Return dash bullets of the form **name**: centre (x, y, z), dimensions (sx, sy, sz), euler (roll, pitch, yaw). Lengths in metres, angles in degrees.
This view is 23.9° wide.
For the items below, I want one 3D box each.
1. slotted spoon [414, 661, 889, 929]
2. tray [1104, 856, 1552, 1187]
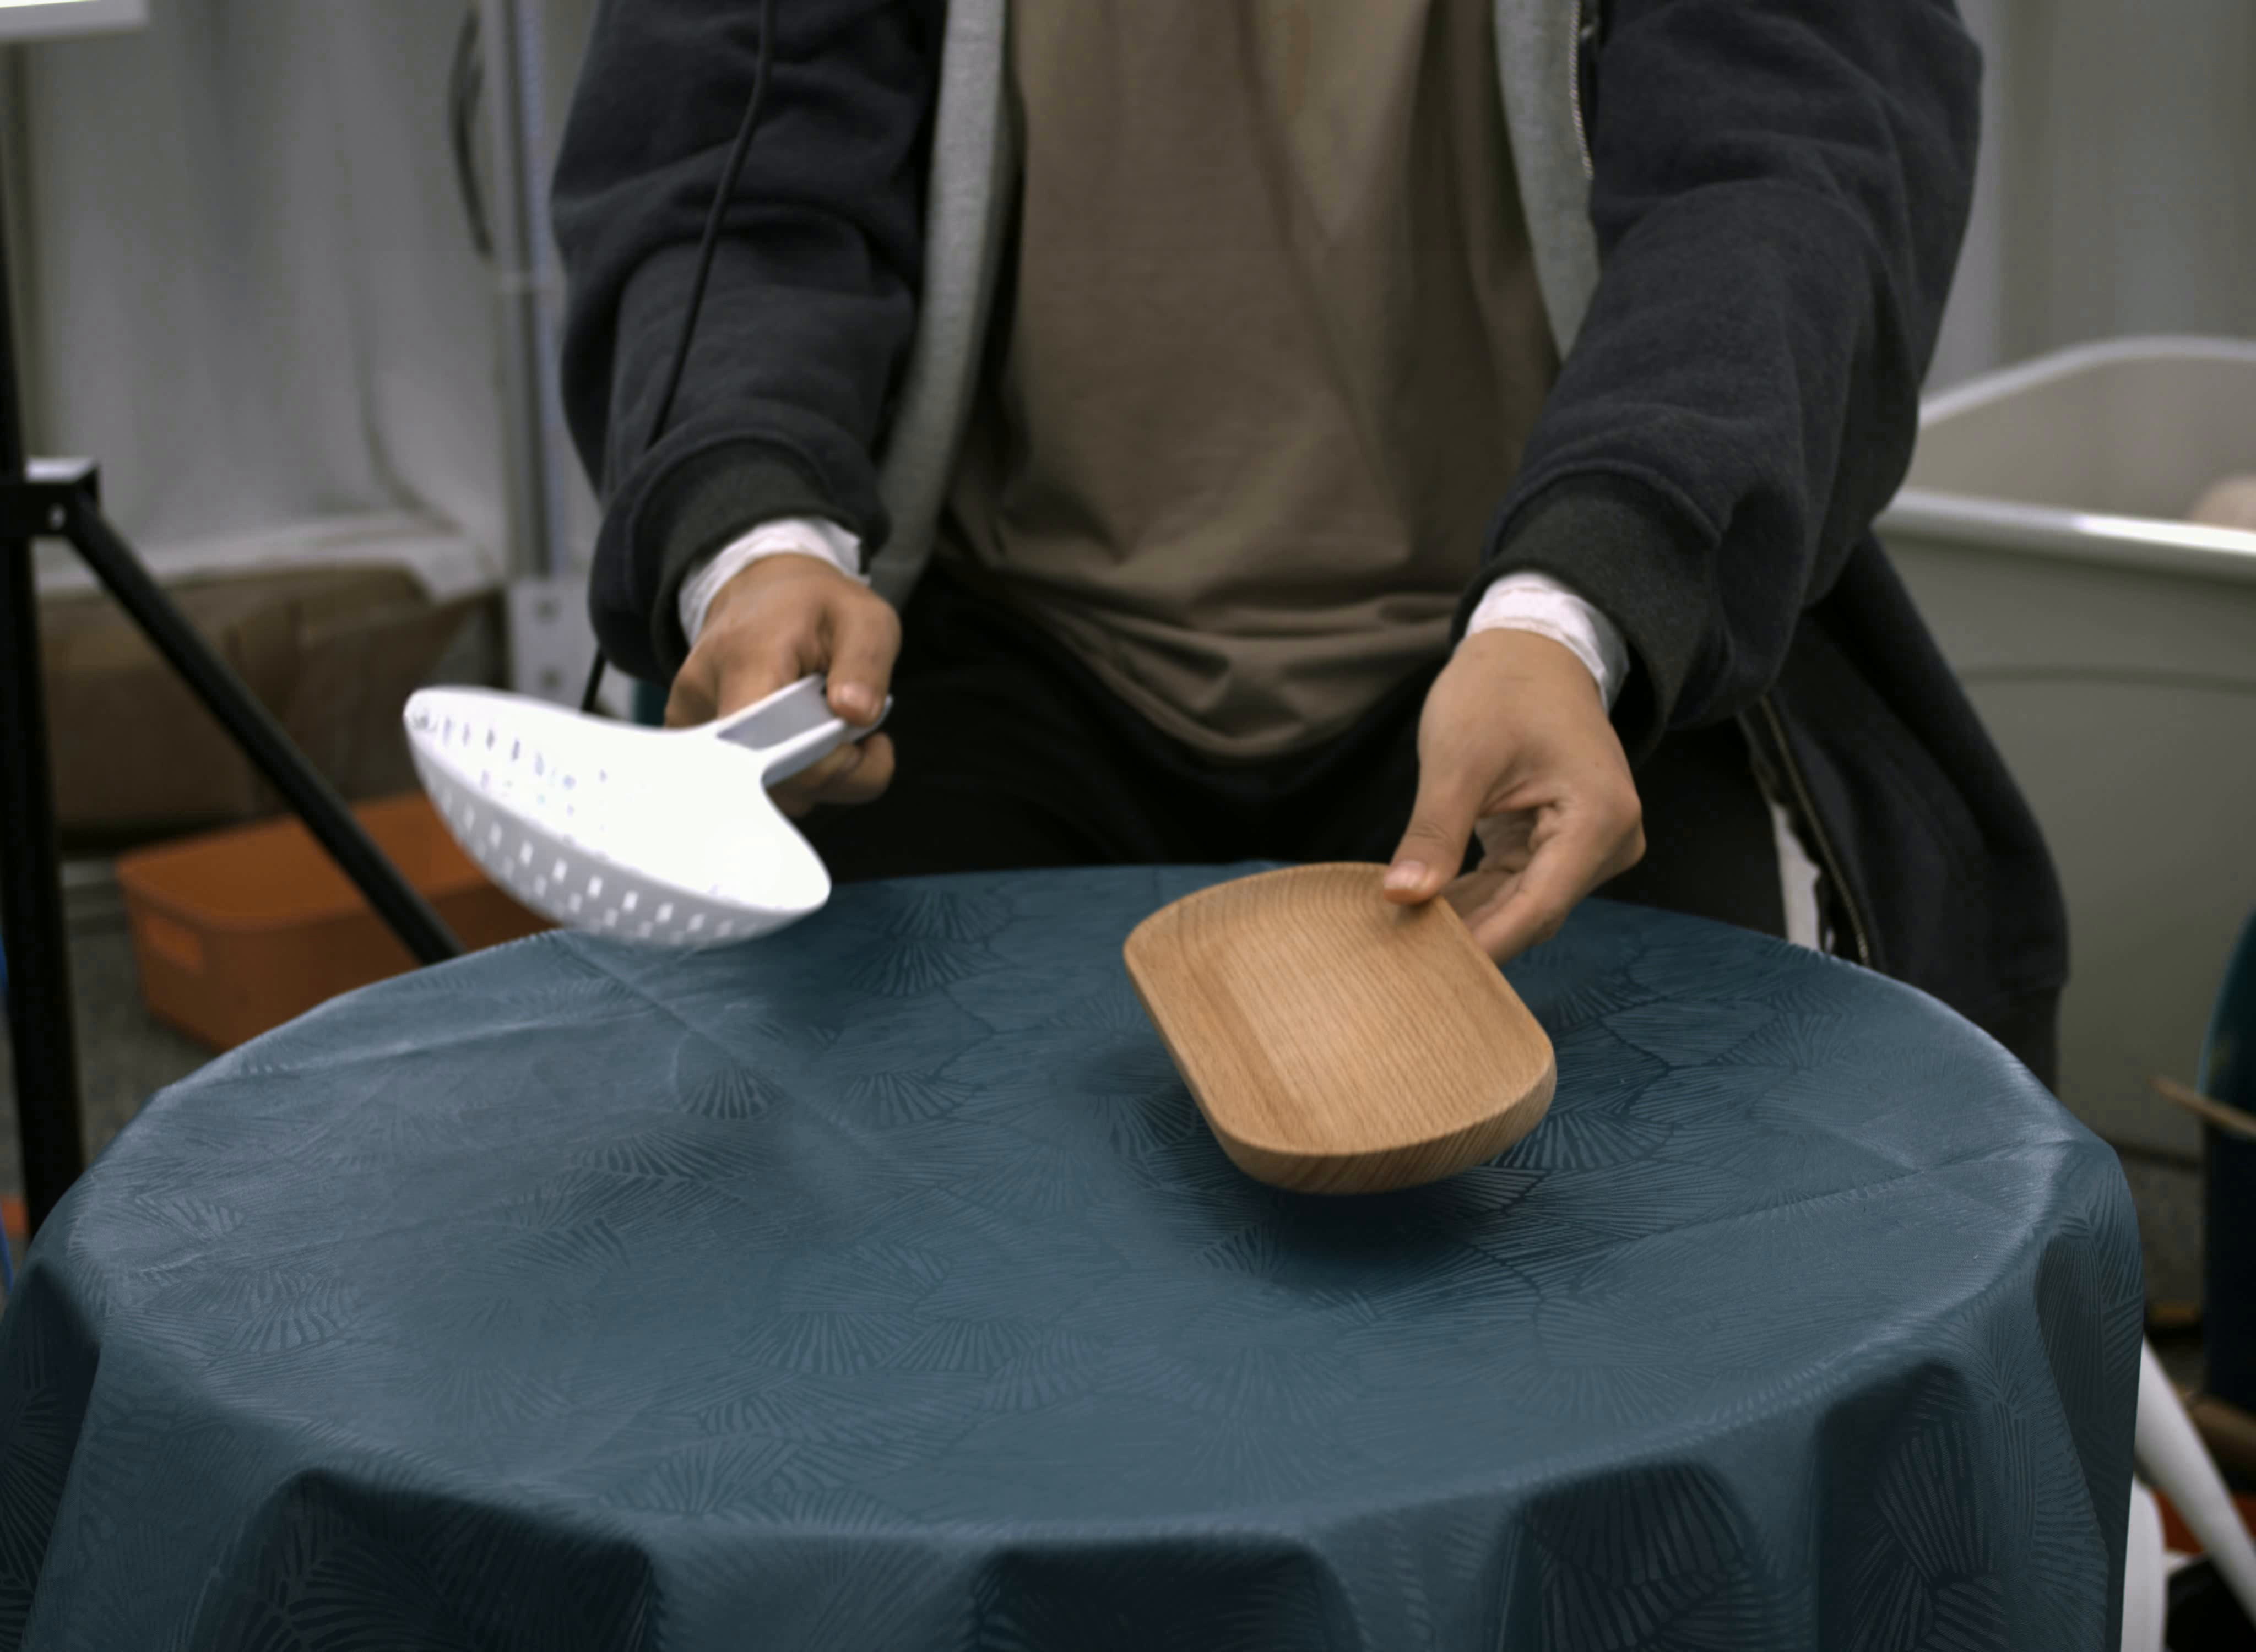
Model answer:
- **slotted spoon**: centre (-0.131, -0.022, 1.681), dimensions (0.136, 0.046, 0.346), euler (29, 17, 7)
- **tray**: centre (0.058, 0.056, 1.587), dimensions (0.100, 0.020, 0.234), euler (-14, 19, -8)
